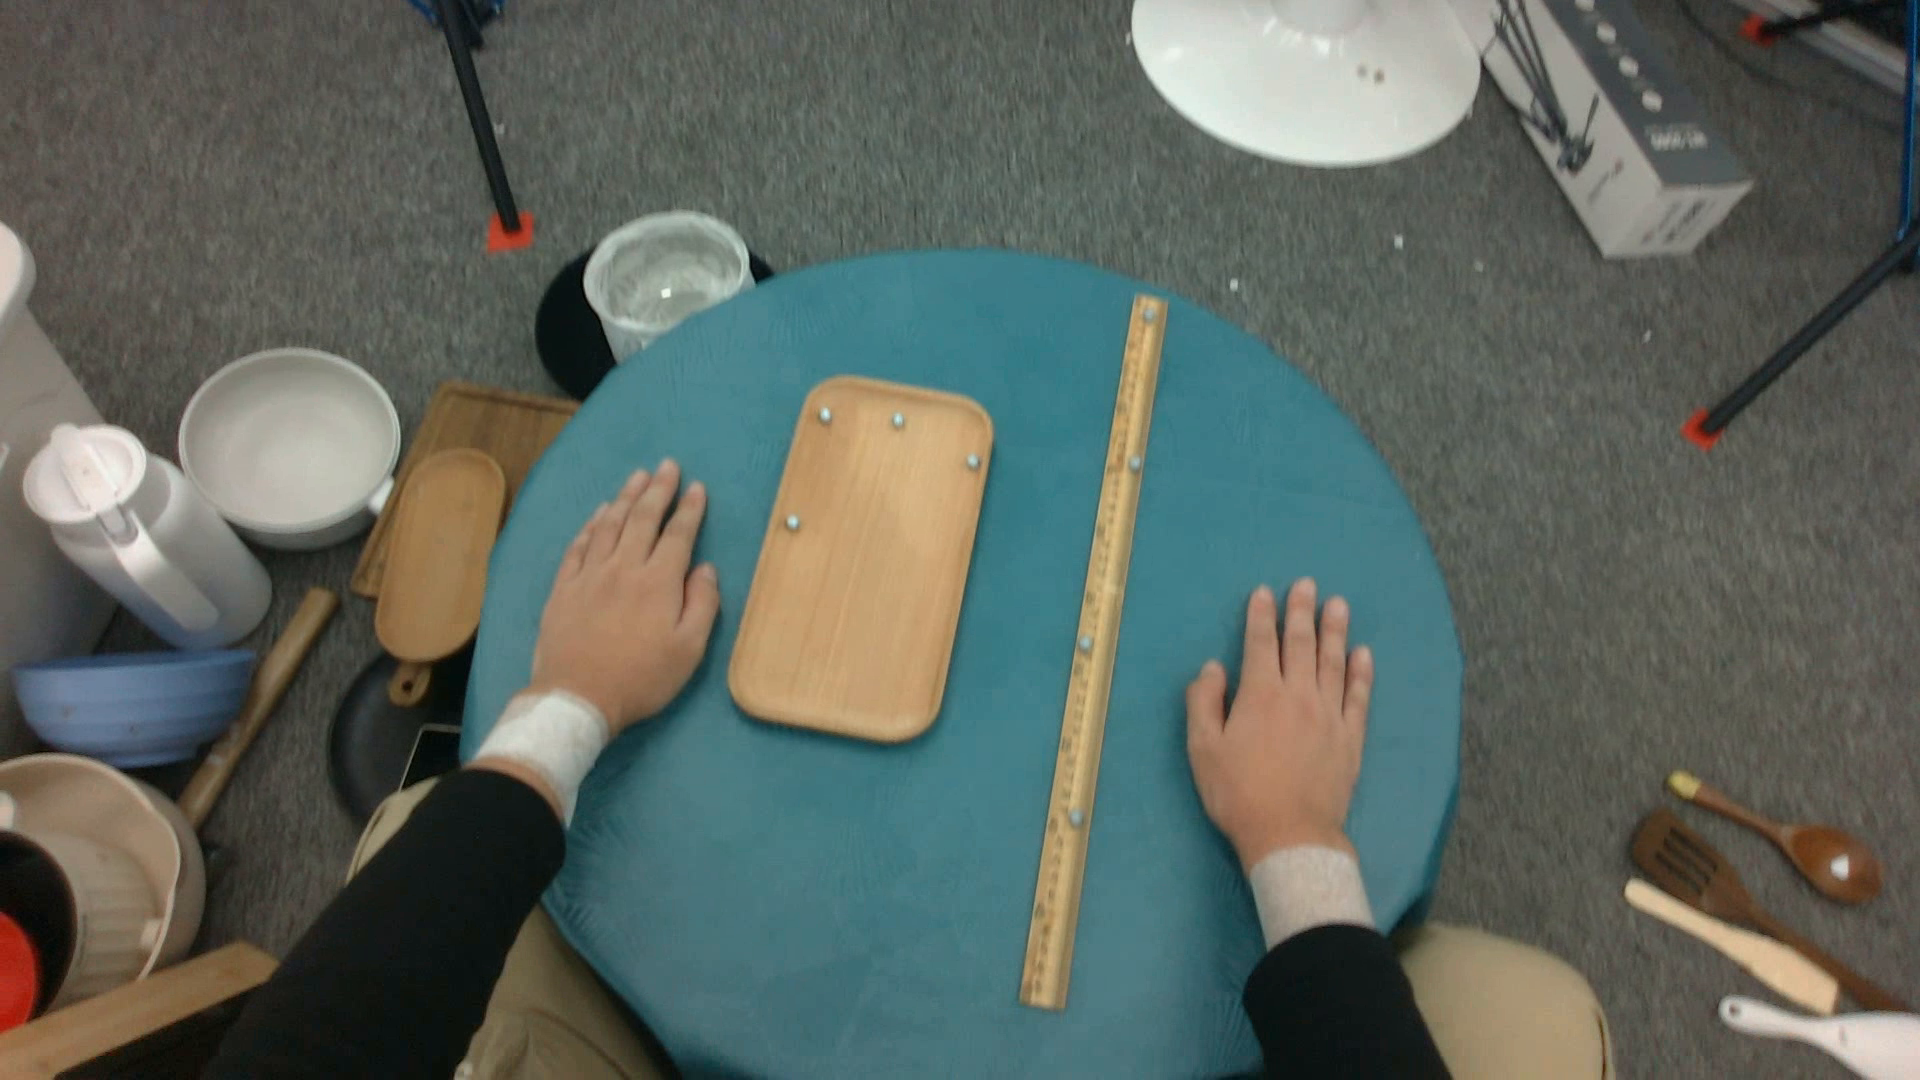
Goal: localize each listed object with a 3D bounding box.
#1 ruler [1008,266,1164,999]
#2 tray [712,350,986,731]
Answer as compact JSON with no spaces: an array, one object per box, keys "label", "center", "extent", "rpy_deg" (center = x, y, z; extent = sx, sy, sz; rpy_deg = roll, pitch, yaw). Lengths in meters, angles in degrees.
[{"label":"ruler","center":[0.084,0.026,0.850],"extent":[0.027,0.006,0.502],"rpy_deg":[11,62,3]},{"label":"tray","center":[-0.063,-0.006,0.848],"extent":[0.130,0.023,0.252],"rpy_deg":[10,63,3]}]
